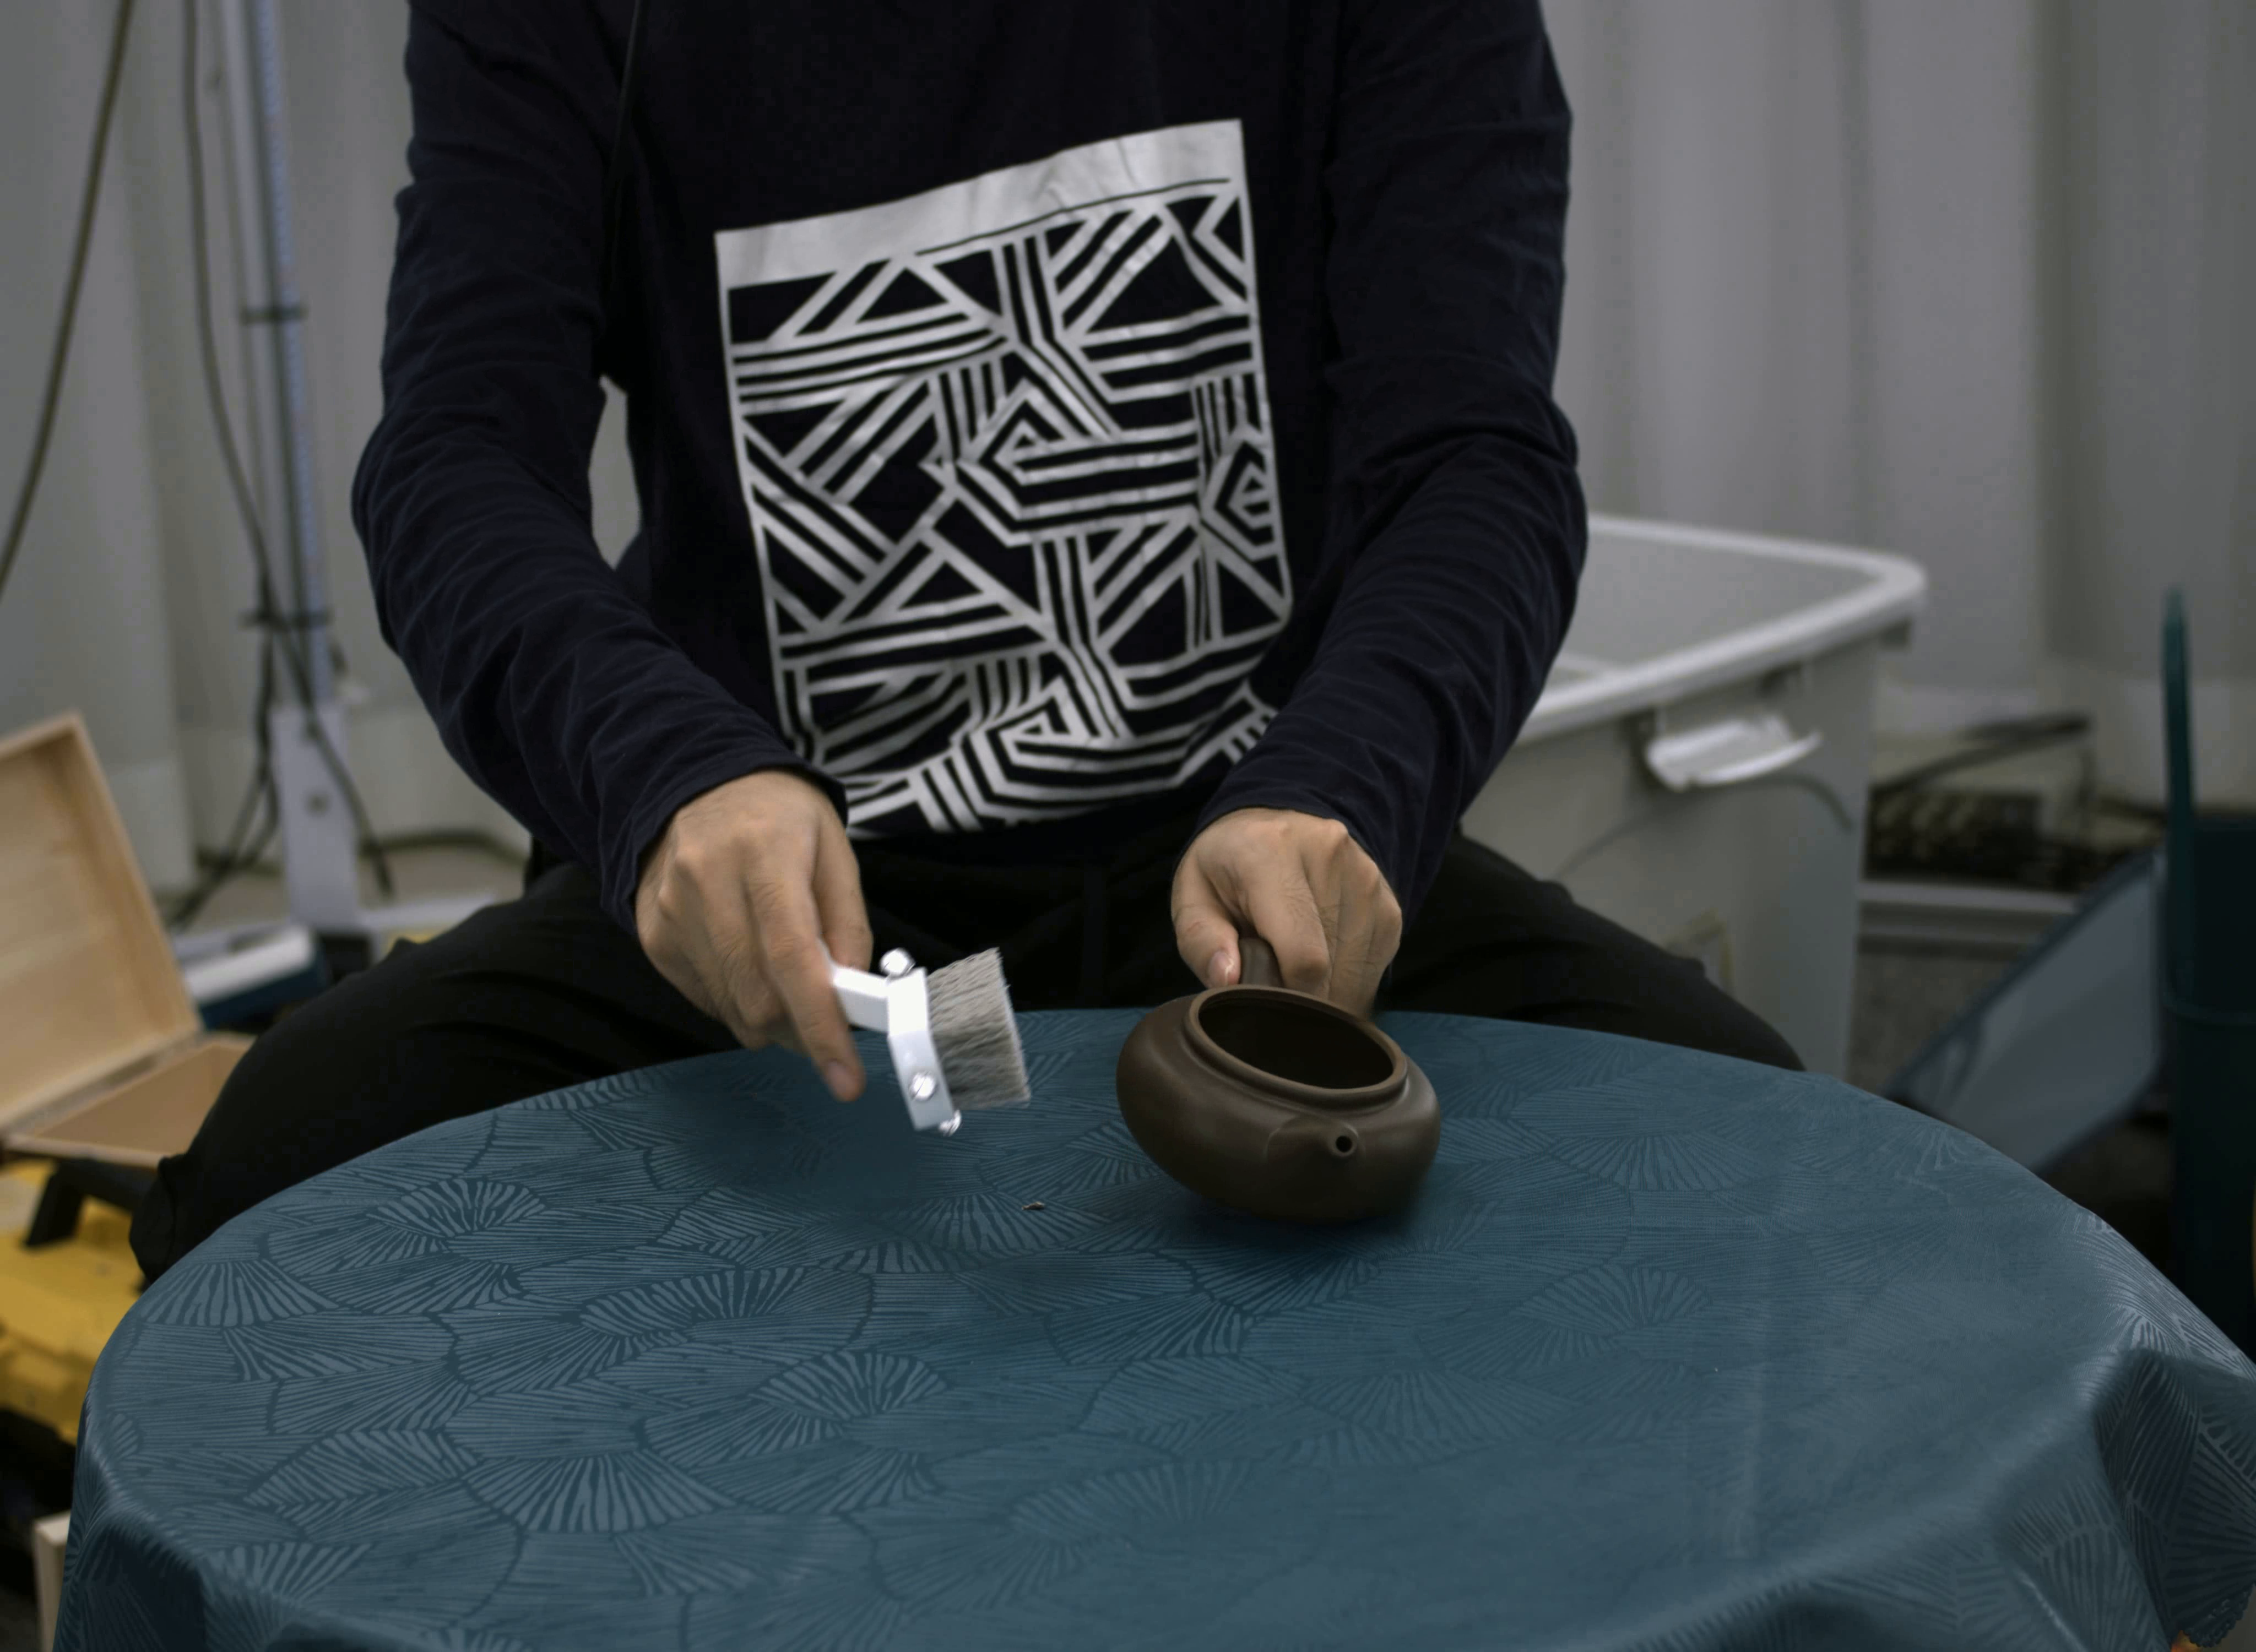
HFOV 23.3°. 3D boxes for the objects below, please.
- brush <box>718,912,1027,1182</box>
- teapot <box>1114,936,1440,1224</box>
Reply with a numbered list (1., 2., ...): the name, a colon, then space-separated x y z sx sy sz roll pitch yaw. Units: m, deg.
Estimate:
1. brush: -0.078 0.059 1.717 0.050 0.034 0.245 -21 19 -13
2. teapot: 0.045 0.082 1.693 0.102 0.053 0.155 6 25 -19
